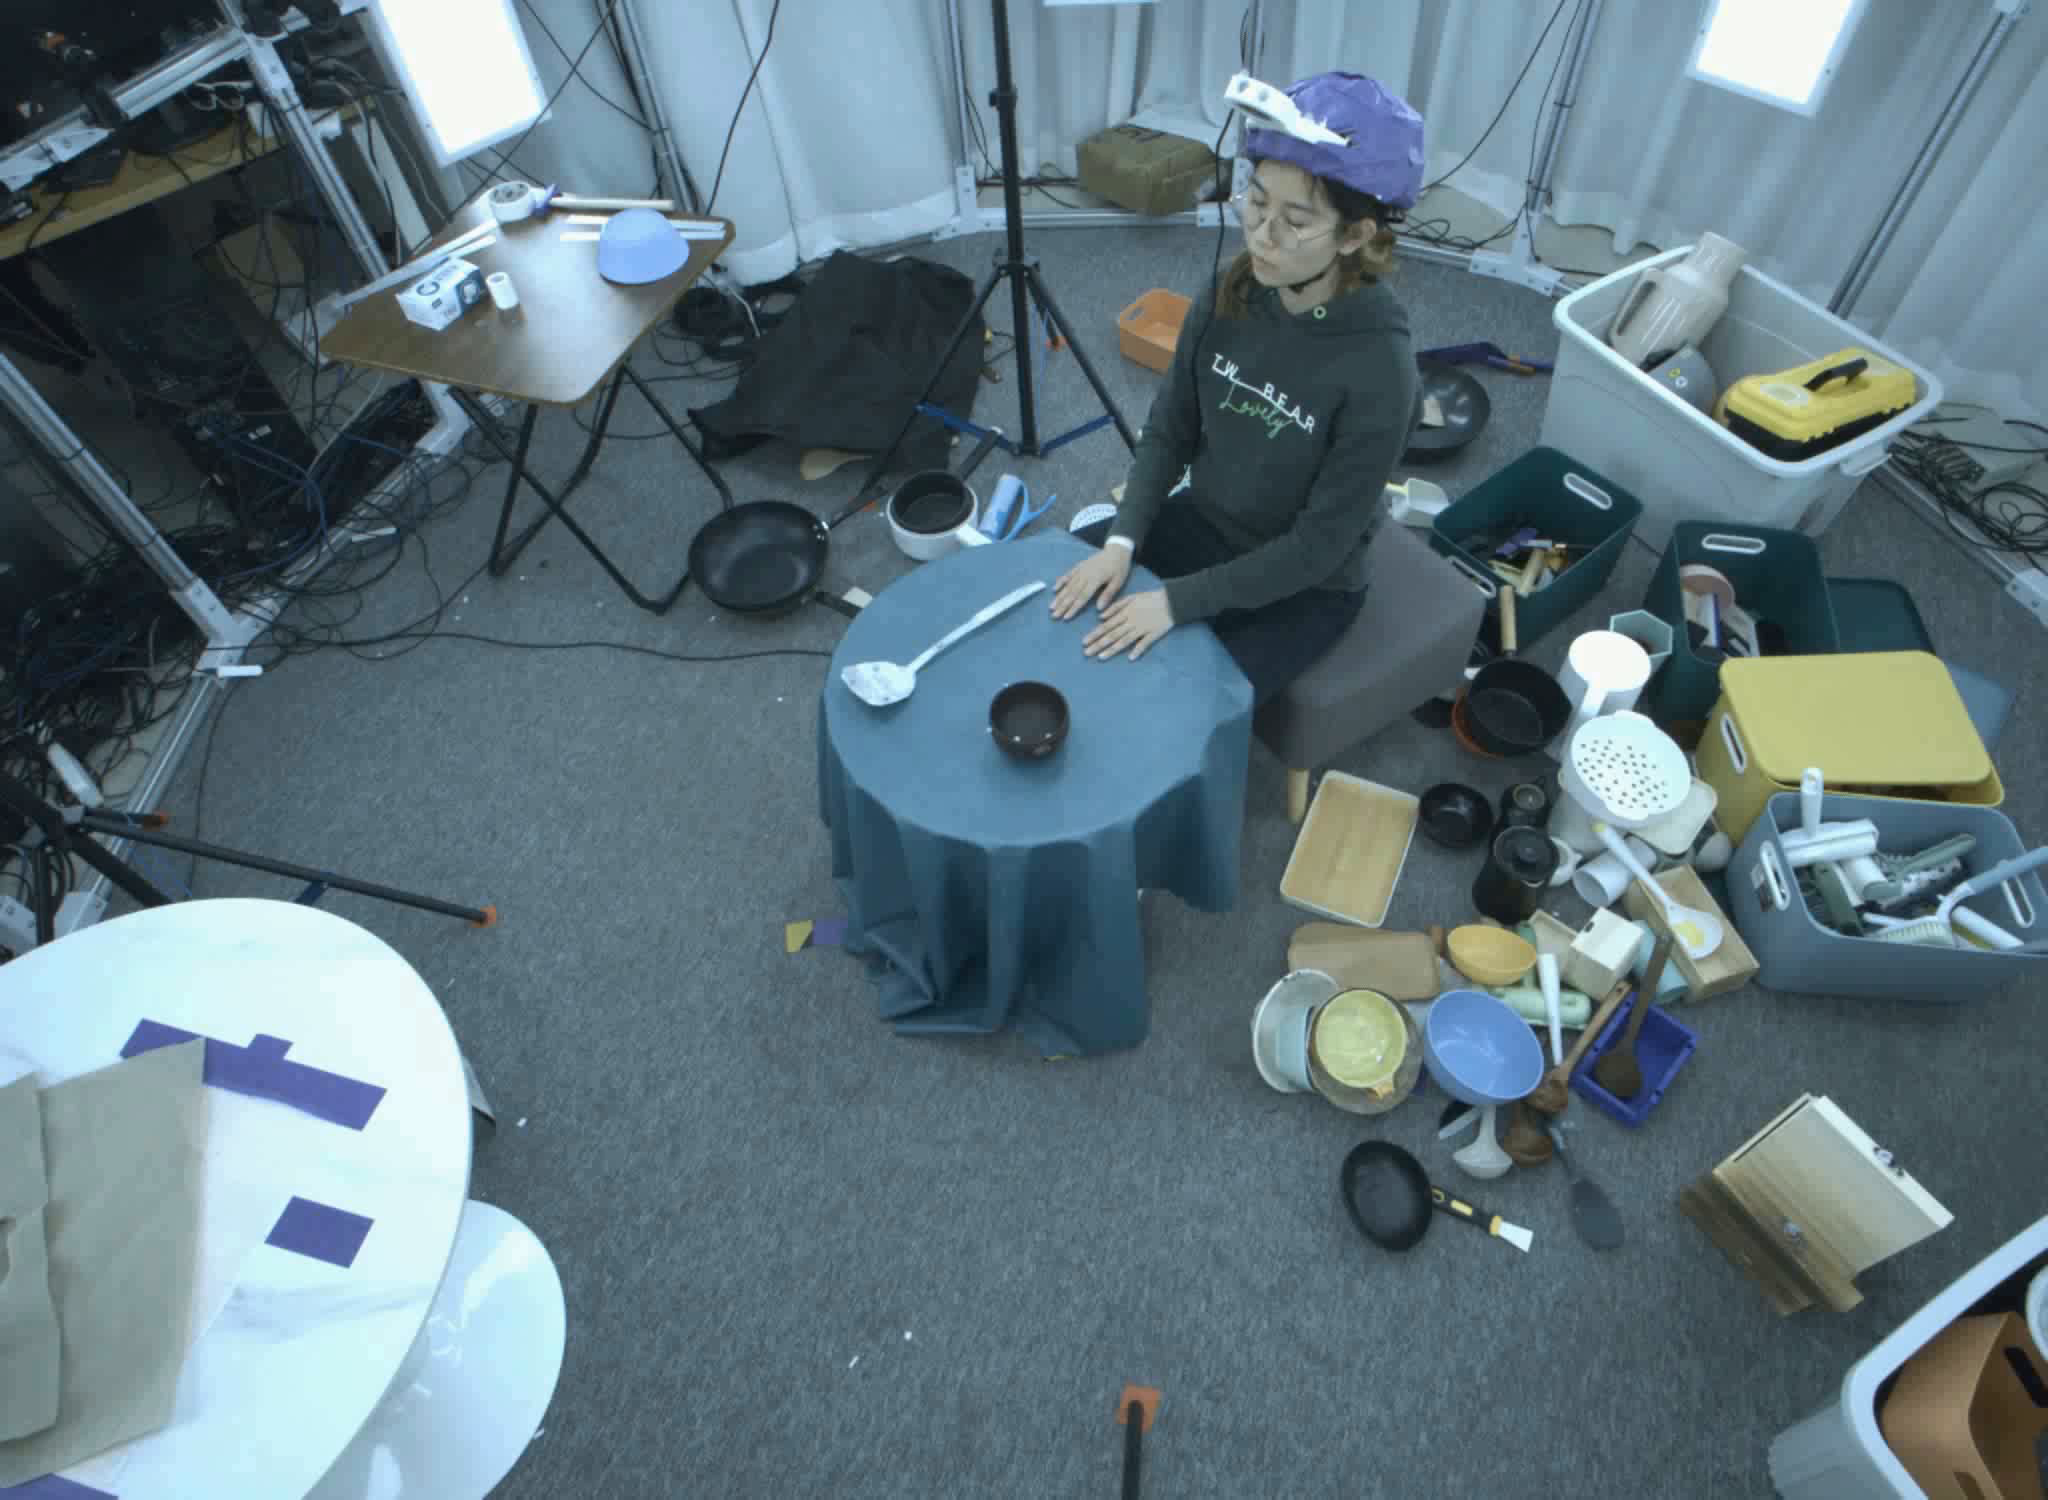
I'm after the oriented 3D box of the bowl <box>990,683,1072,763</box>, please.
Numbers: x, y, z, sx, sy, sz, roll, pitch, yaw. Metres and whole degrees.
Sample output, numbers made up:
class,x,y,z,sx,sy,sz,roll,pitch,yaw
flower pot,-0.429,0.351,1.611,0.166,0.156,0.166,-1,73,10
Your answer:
class,x,y,z,sx,sy,sz,roll,pitch,yaw
bowl,0.011,-0.031,1.775,0.118,0.070,0.117,1,55,0

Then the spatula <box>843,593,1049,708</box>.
class,x,y,z,sx,sy,sz,roll,pitch,yaw
spatula,-0.111,-0.168,1.895,0.368,0.045,0.097,-35,59,-20
